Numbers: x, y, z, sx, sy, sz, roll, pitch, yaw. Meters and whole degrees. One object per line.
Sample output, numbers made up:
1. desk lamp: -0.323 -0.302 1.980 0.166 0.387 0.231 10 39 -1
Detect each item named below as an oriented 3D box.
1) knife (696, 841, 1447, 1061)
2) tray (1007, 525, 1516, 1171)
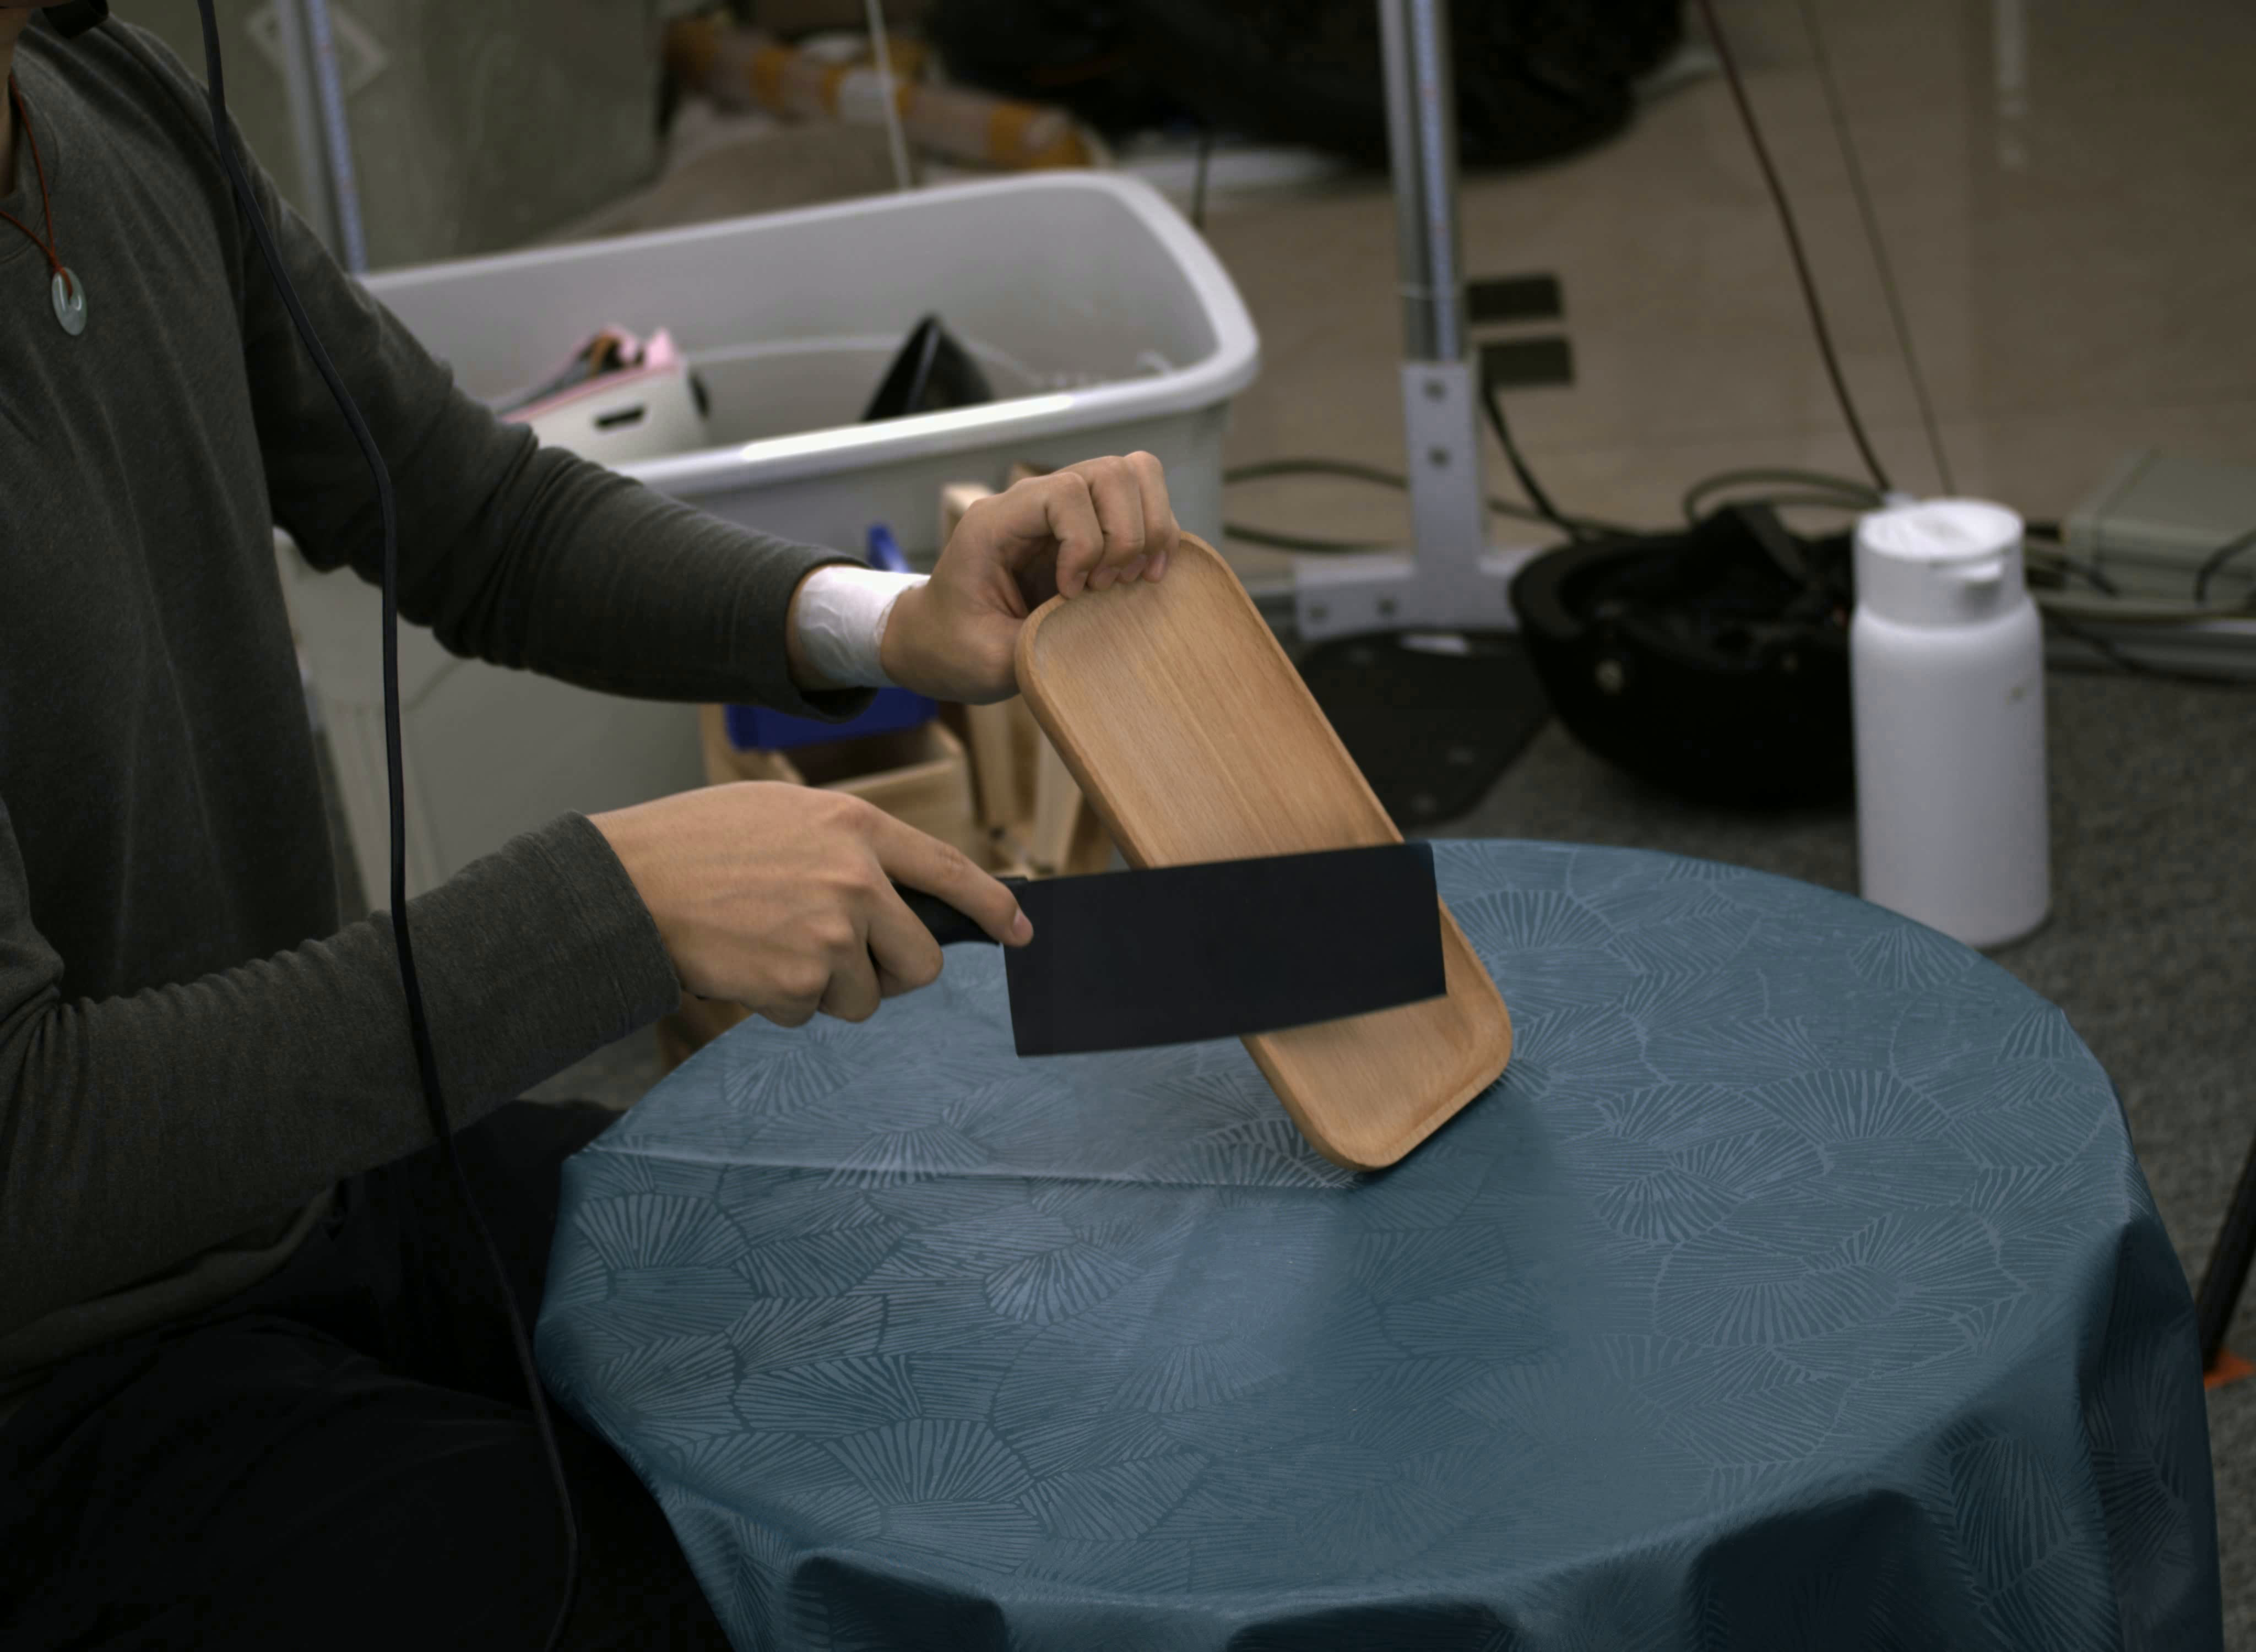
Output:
1. knife: -0.017 0.047 2.091 0.302 0.081 0.021 -1 -3 -25
2. tray: 0.051 0.008 2.164 0.023 0.251 0.129 -30 4 45
